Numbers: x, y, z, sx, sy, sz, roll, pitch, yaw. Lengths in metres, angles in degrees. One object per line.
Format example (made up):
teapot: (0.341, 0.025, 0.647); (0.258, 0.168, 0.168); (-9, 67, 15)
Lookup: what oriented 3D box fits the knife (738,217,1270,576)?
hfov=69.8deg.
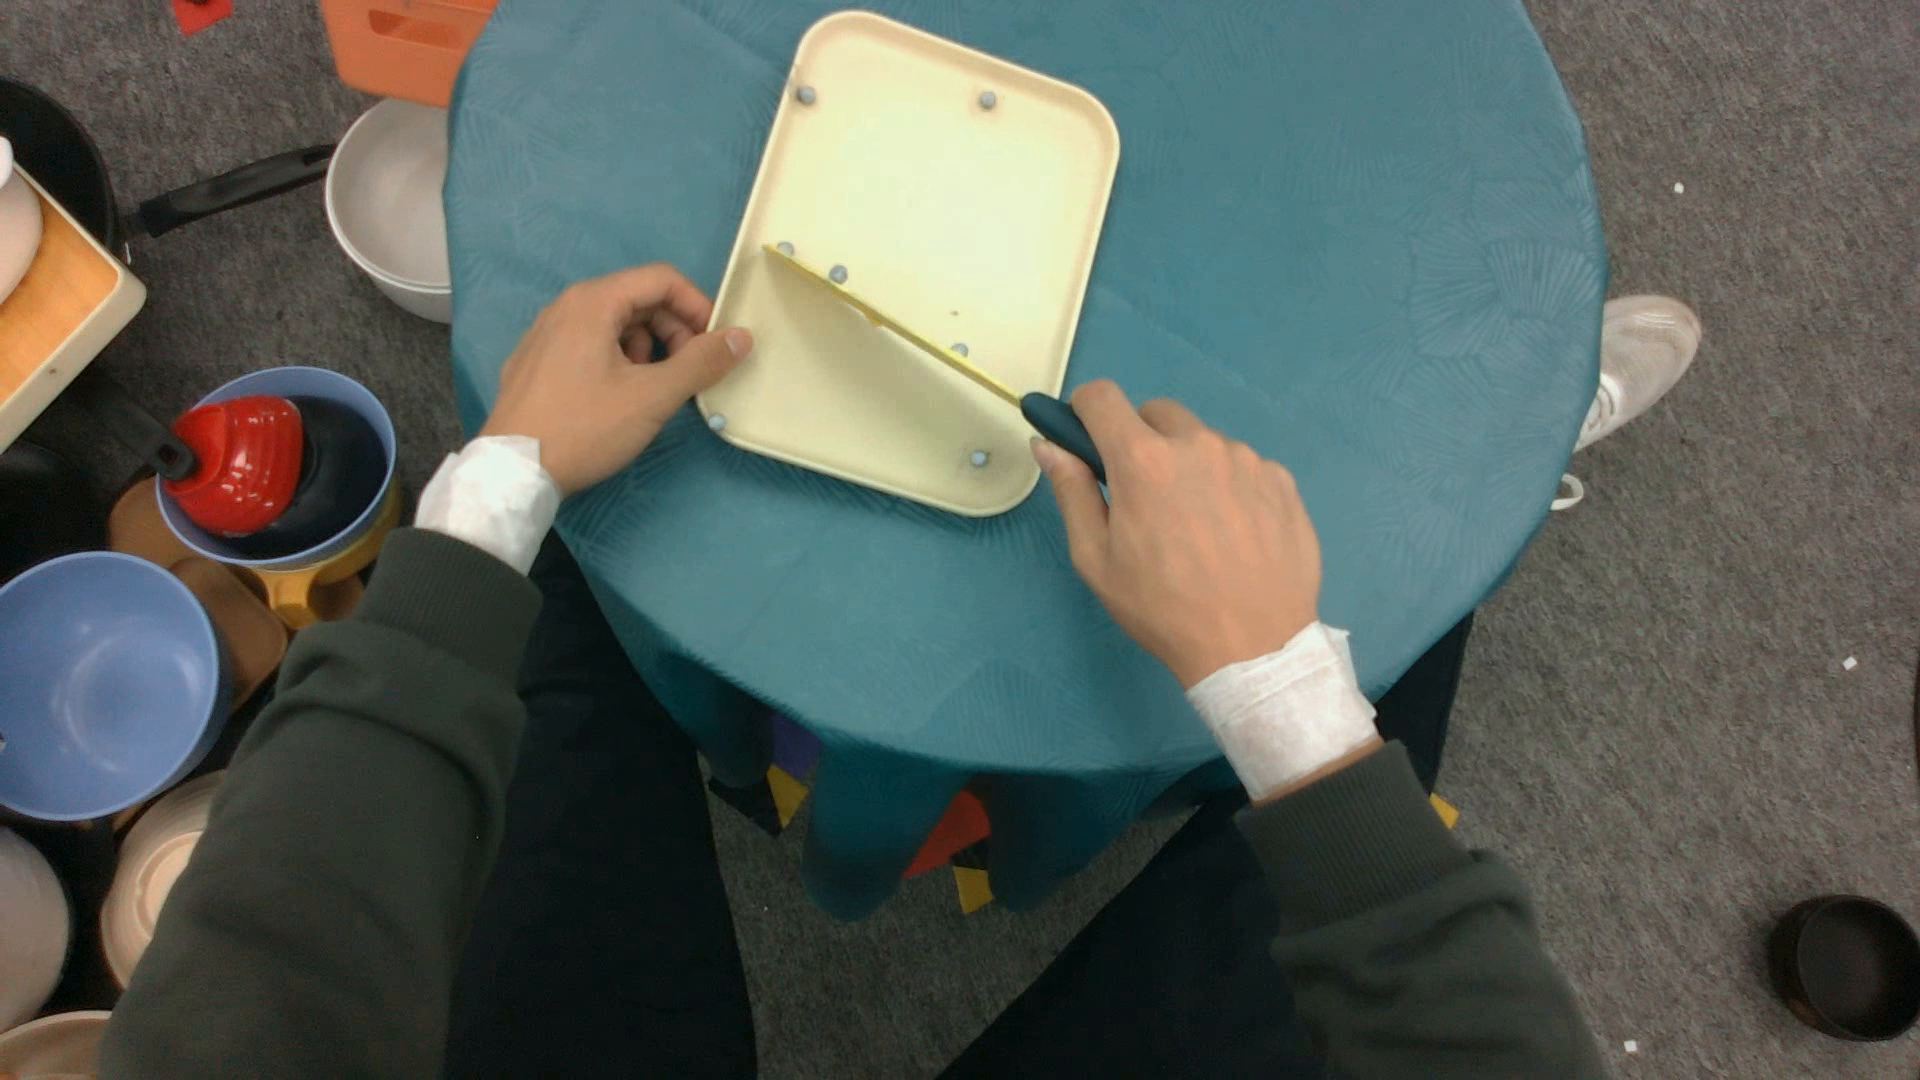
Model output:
knife: (0.013, -0.070, 0.619); (0.289, 0.081, 0.027); (34, 94, 11)

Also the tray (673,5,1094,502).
tray: (-0.033, -0.143, 0.678); (0.171, 0.017, 0.240); (16, 72, -8)
